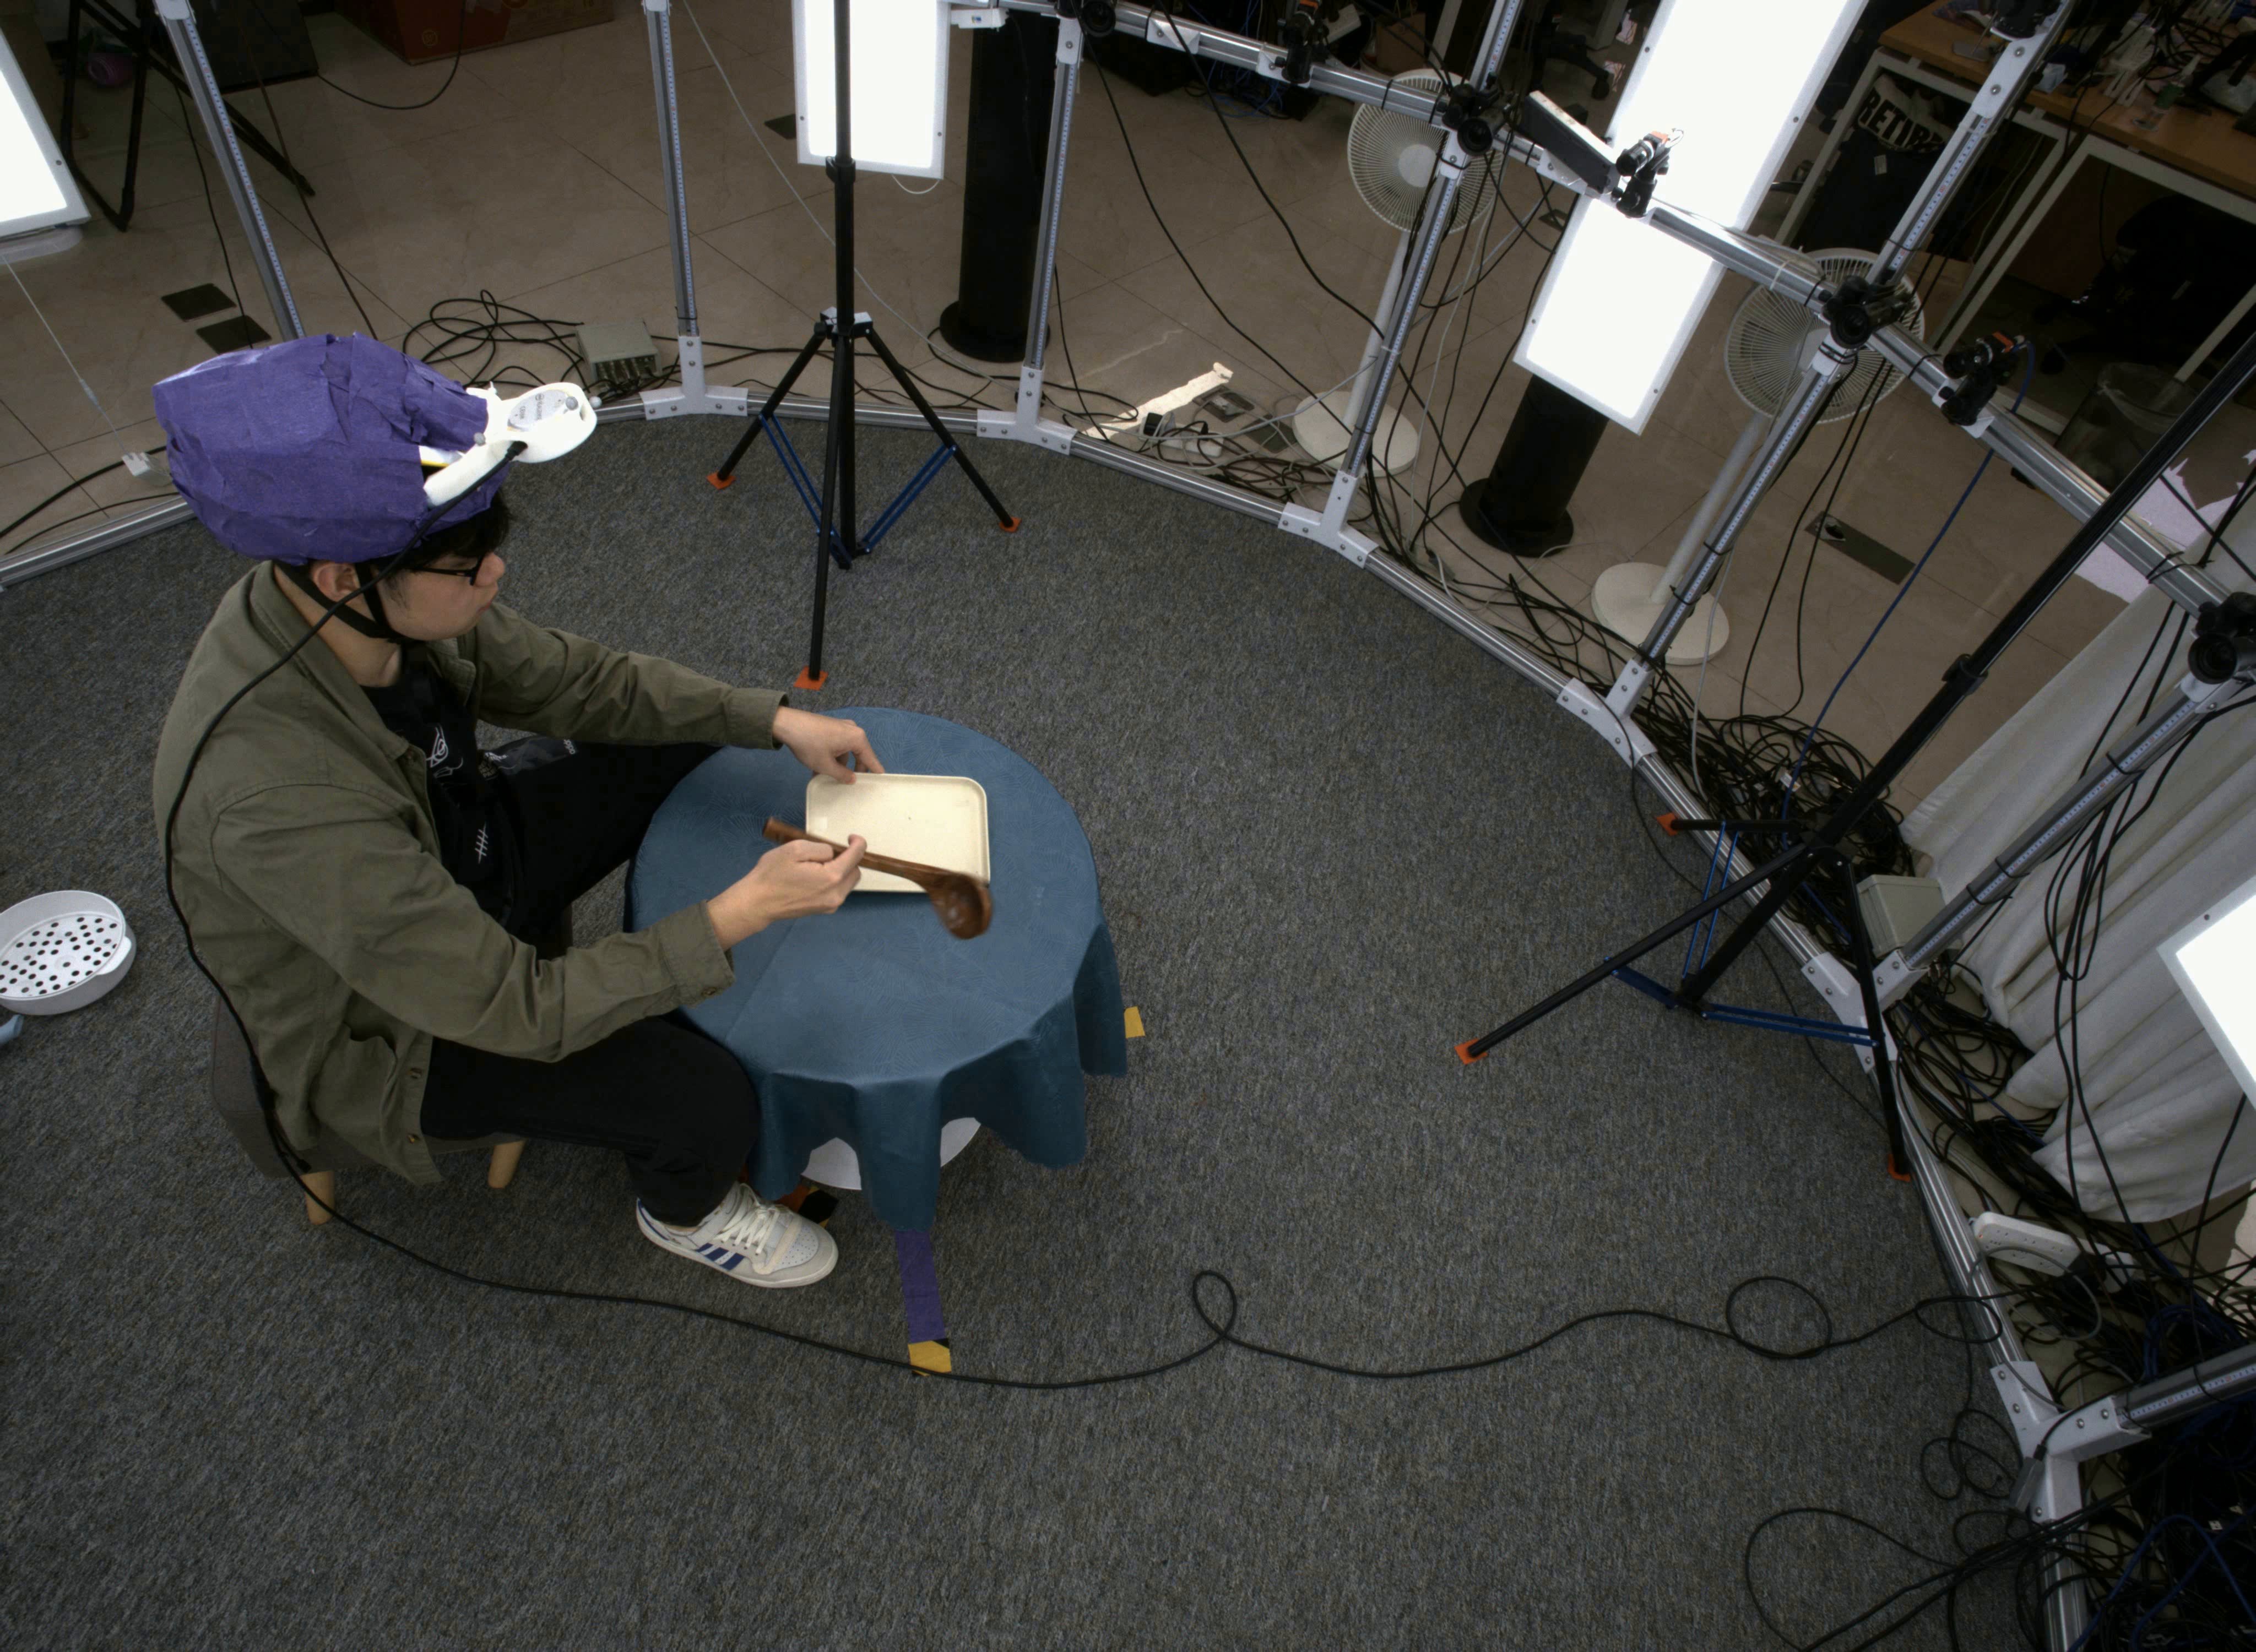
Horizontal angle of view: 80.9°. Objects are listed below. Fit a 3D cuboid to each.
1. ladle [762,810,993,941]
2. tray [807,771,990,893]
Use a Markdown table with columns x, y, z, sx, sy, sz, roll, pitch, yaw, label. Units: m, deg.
| x | y | z | sx | sy | sz | roll | pitch | yaw | label |
| --- | --- | --- | --- | --- | --- | --- | --- | --- | --- |
| -0.280 | 0.057 | 1.458 | 0.280 | 0.082 | 0.074 | 20 | 31 | -28 | ladle |
| -0.304 | 0.010 | 1.721 | 0.241 | 0.017 | 0.169 | 2 | 66 | -18 | tray |
